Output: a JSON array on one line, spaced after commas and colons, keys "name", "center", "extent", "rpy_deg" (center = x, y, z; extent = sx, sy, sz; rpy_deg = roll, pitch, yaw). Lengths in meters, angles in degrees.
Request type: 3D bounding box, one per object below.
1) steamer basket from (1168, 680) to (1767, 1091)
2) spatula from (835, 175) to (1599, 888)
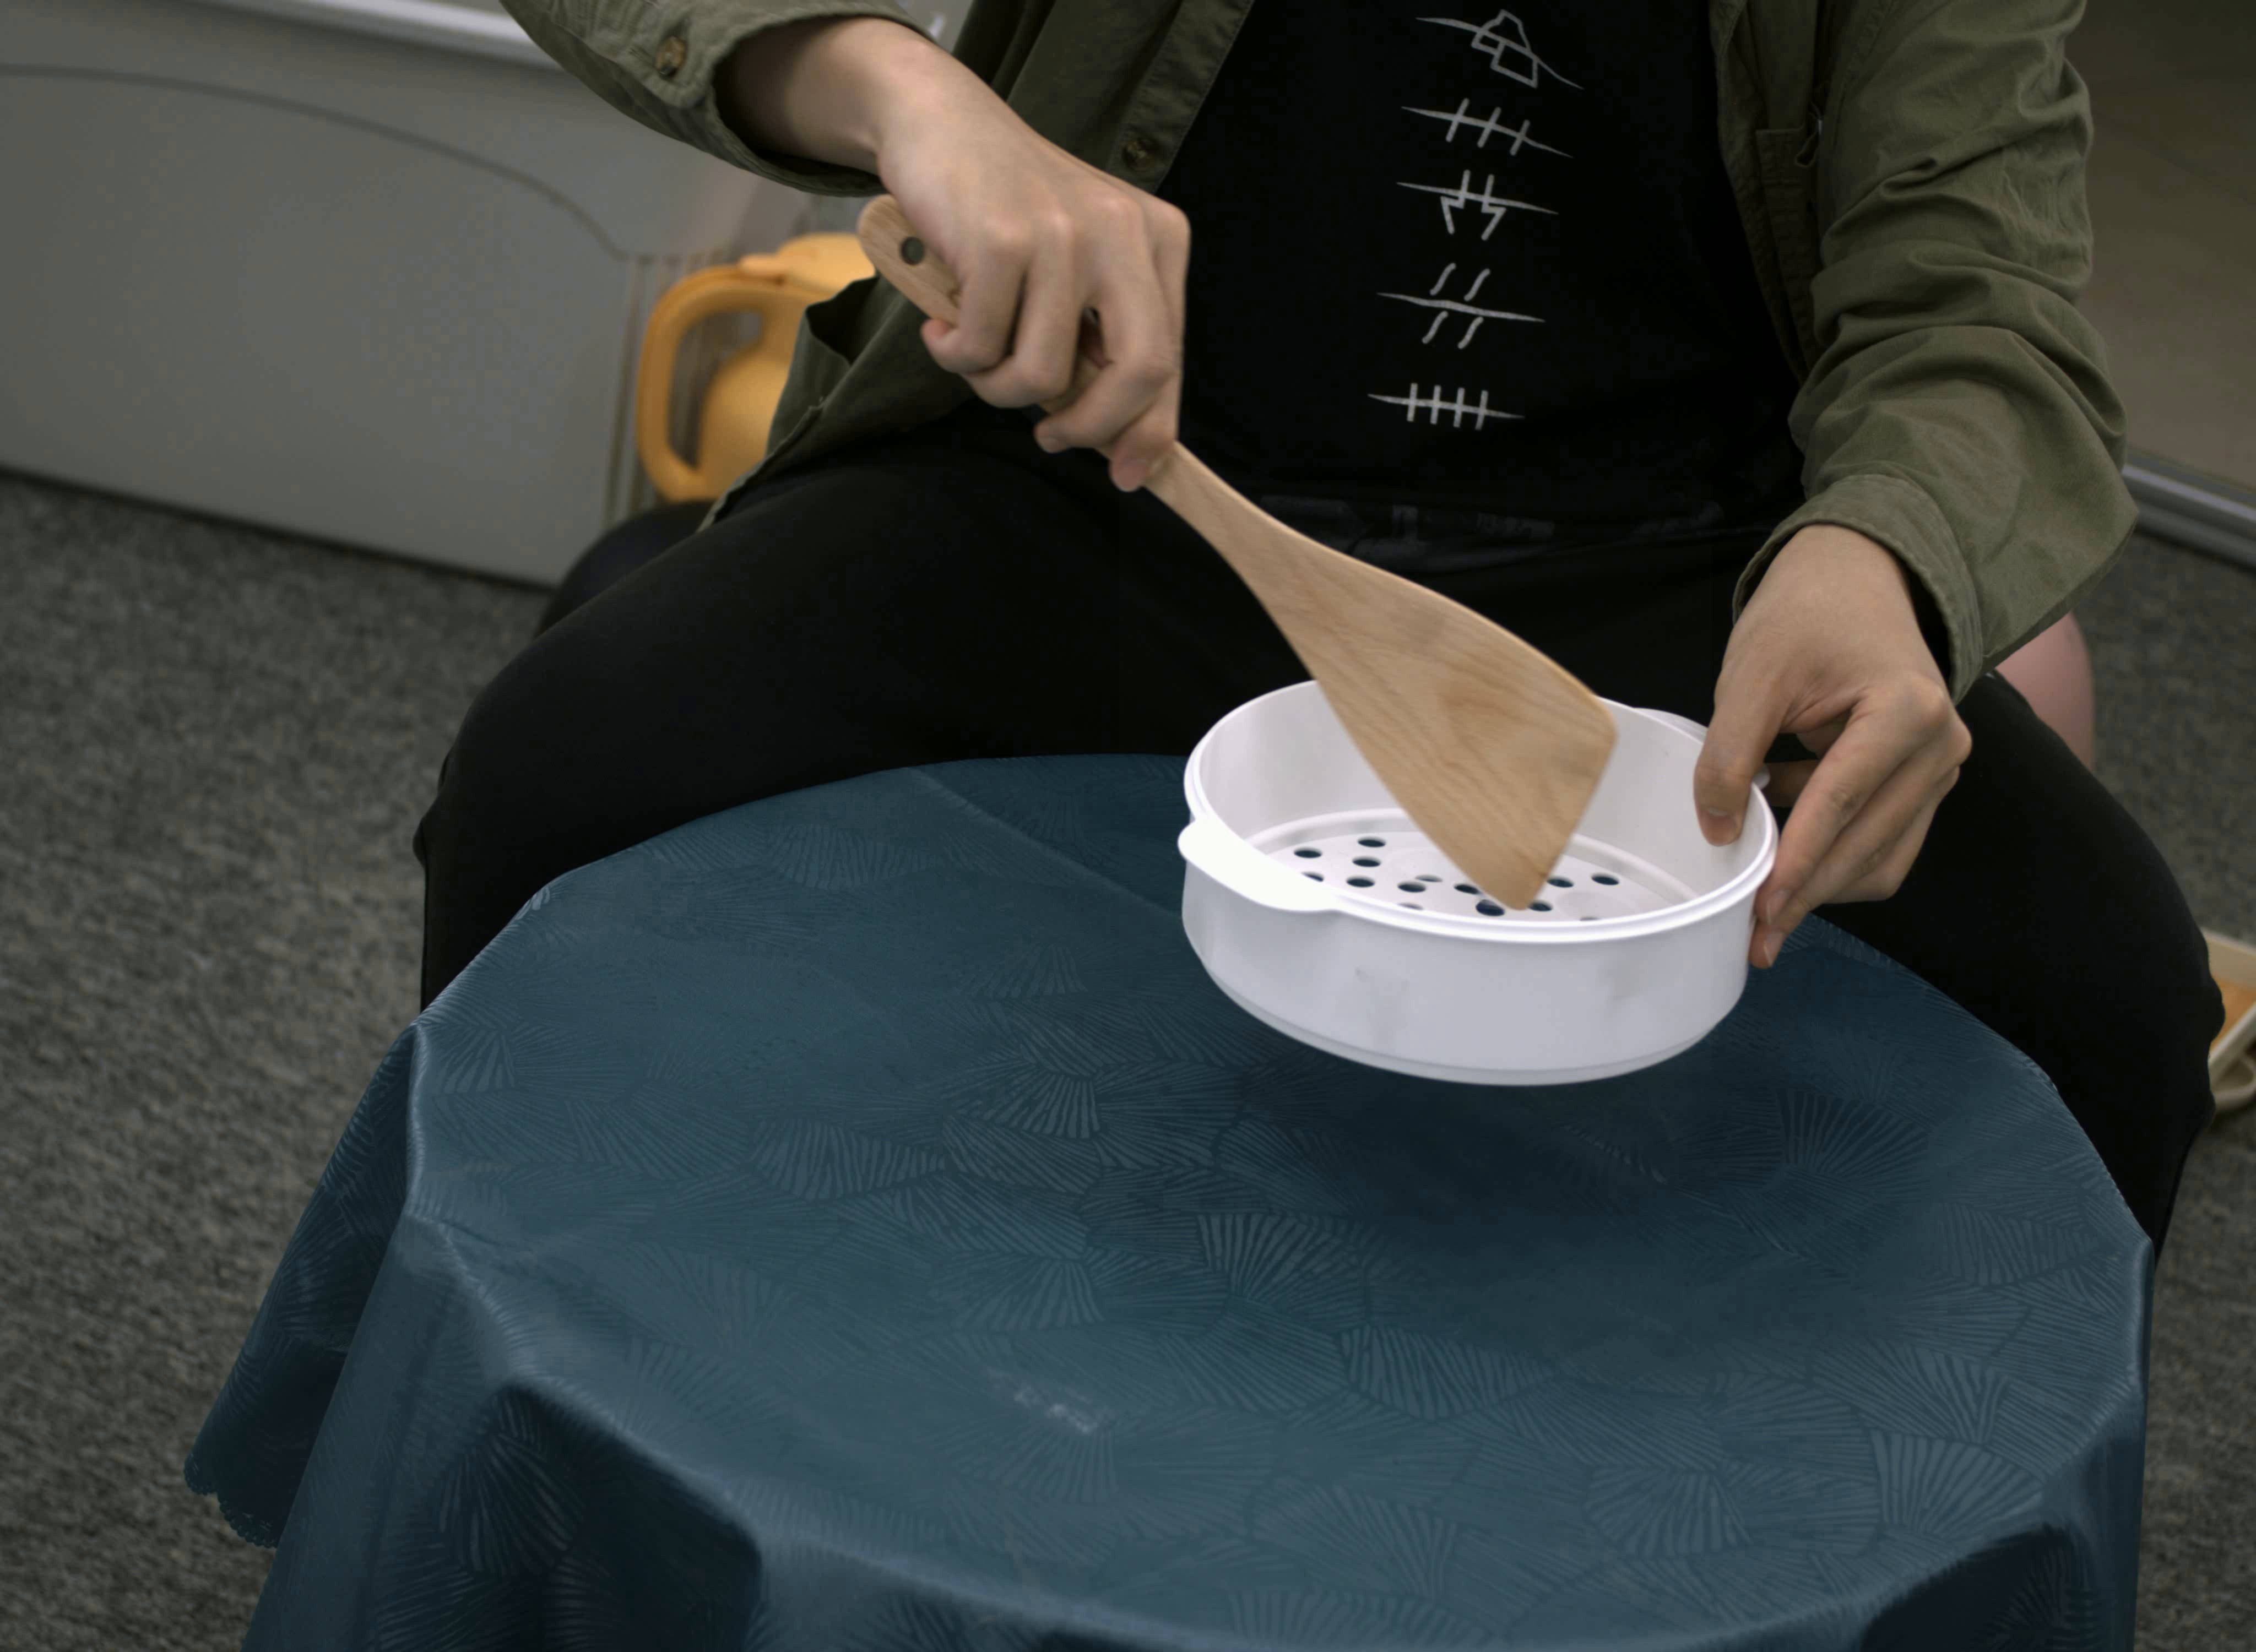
[{"name": "steamer basket", "center": [0.112, 0.020, 1.803], "extent": [0.229, 0.069, 0.203], "rpy_deg": [-13, 31, -35]}, {"name": "spatula", "center": [0.025, -0.111, 1.790], "extent": [0.328, 0.080, 0.016], "rpy_deg": [41, 25, 8]}]
